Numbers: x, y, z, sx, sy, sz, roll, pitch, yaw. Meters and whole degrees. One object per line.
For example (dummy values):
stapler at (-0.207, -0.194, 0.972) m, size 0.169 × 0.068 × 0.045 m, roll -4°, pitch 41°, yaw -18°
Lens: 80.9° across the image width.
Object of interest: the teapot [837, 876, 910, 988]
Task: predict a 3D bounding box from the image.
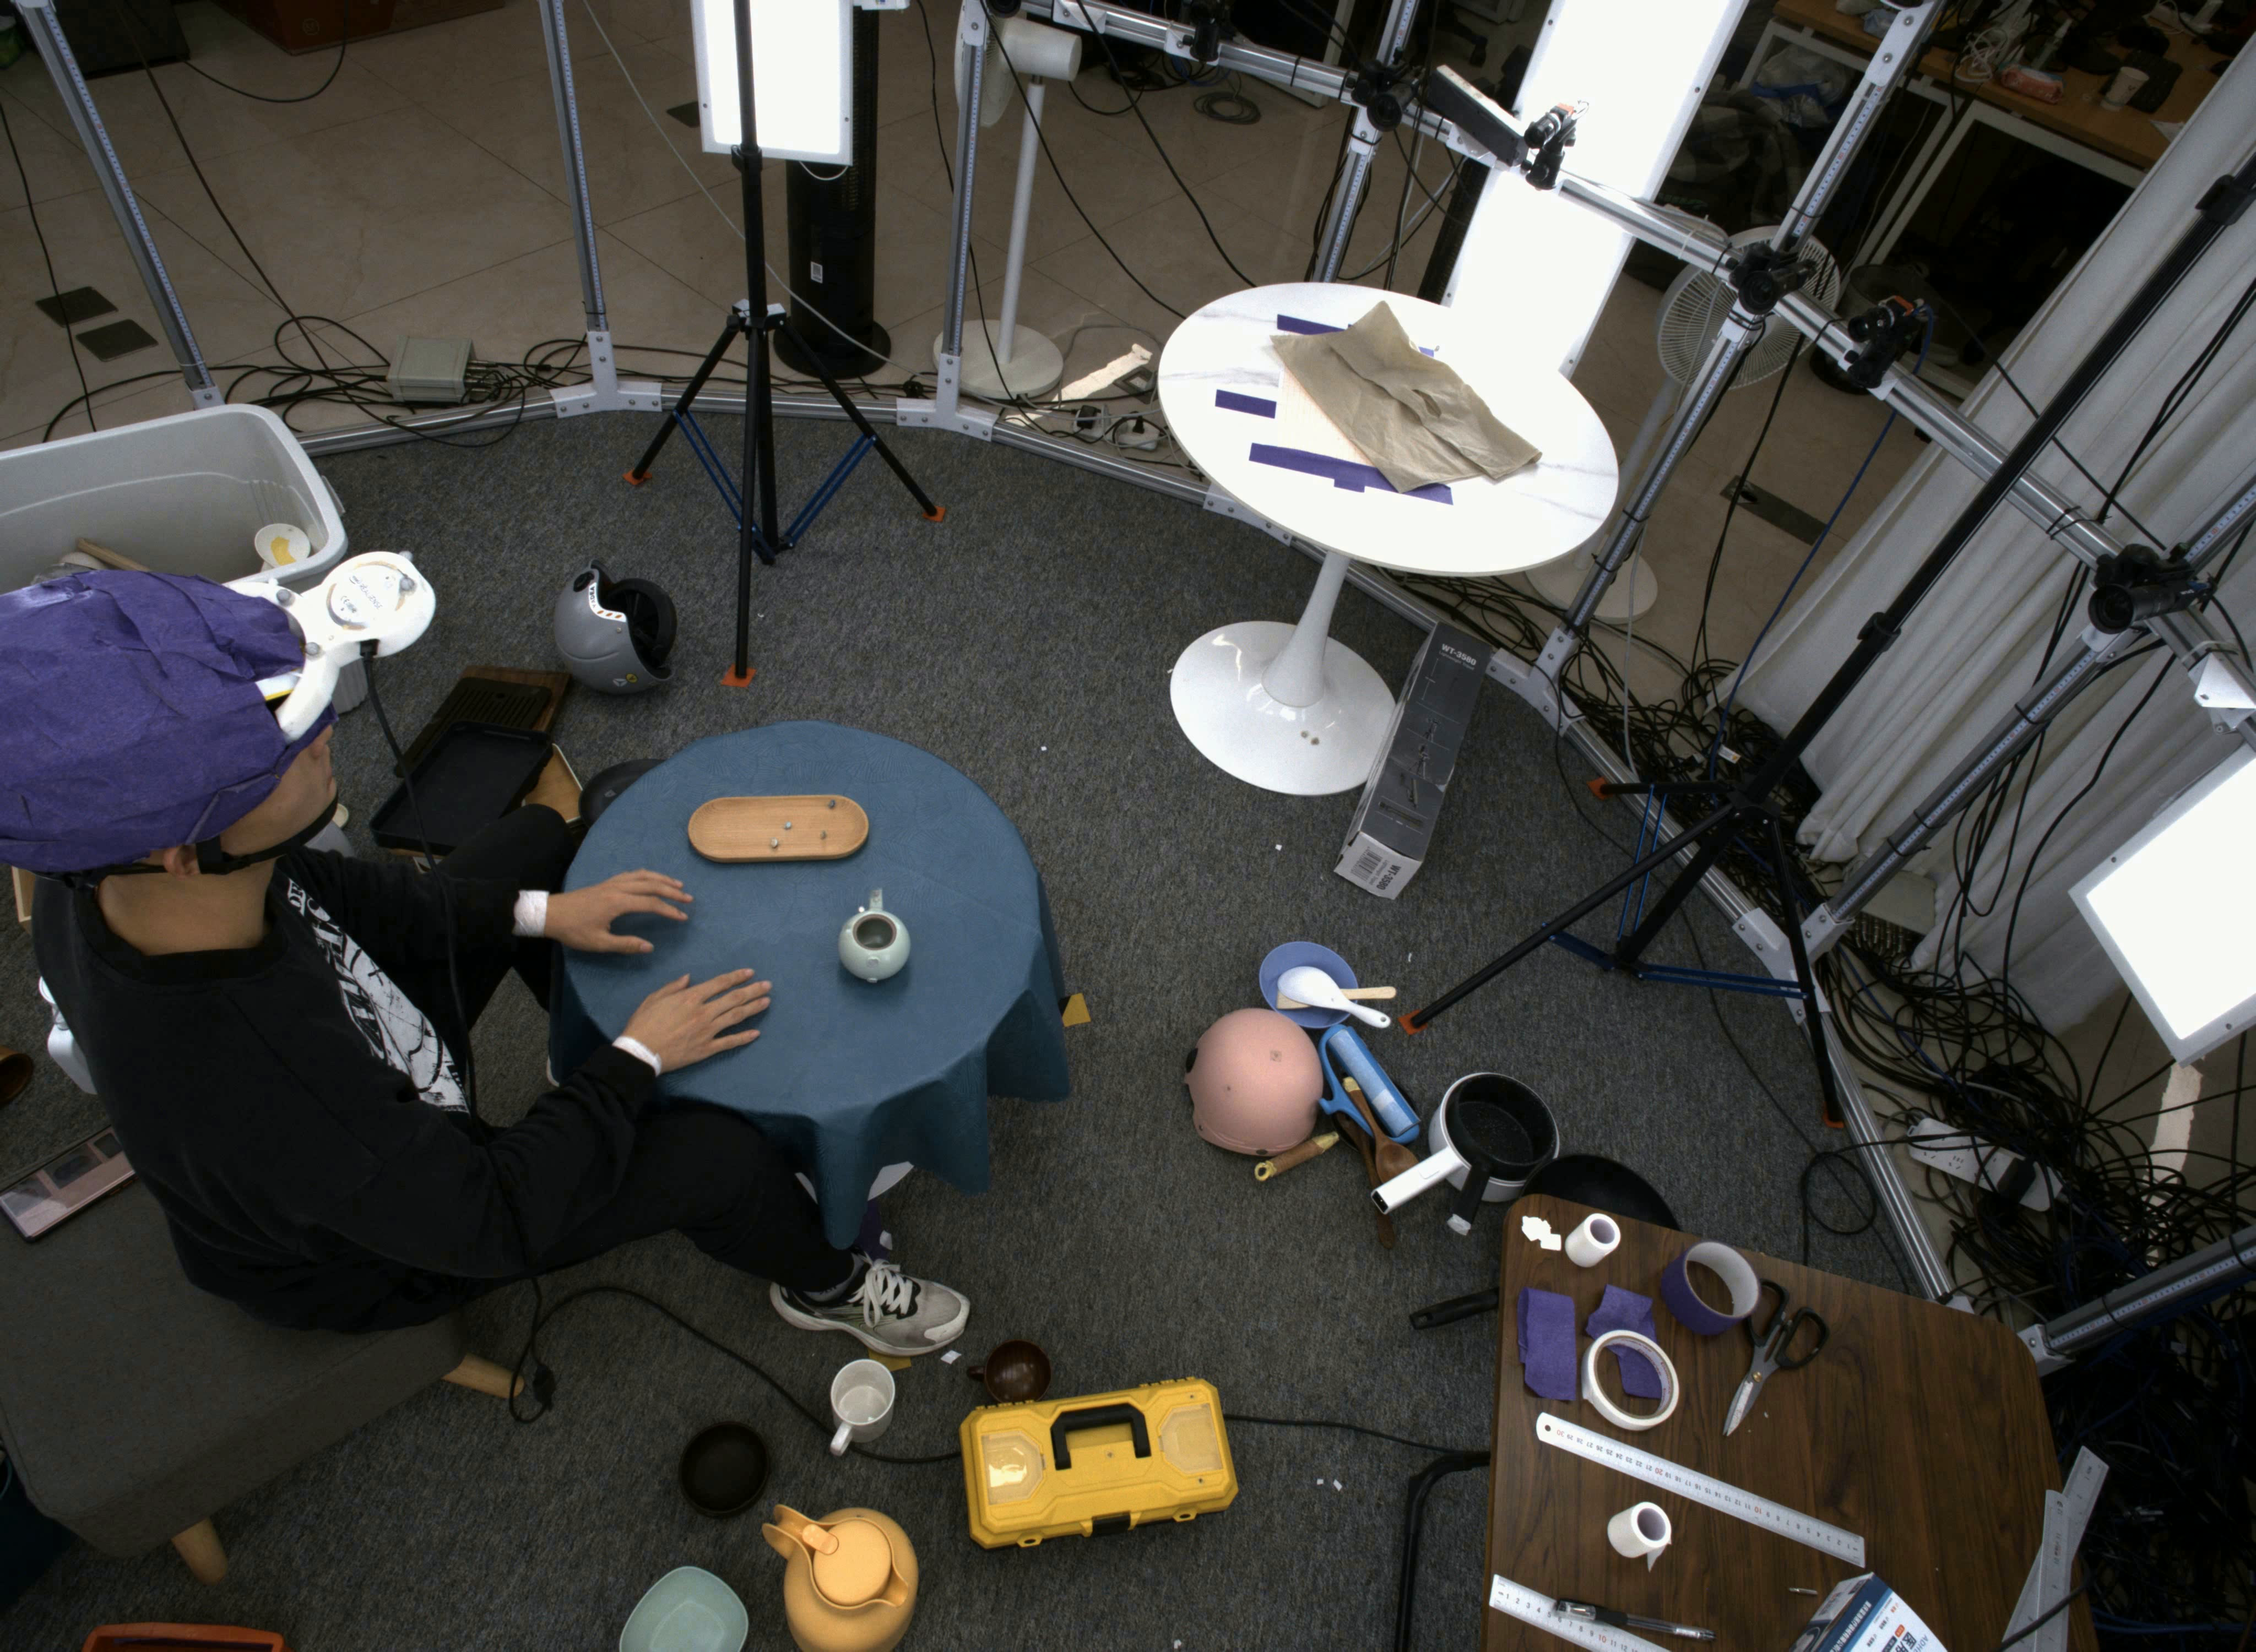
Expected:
teapot at (-0.314, 0.138, 1.602) m, size 0.088 × 0.076 × 0.141 m, roll 3°, pitch 53°, yaw -10°

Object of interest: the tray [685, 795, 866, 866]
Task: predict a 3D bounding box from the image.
tray at (-0.461, 0.004, 1.698) m, size 0.231 × 0.021 × 0.099 m, roll -3°, pitch 53°, yaw -15°
